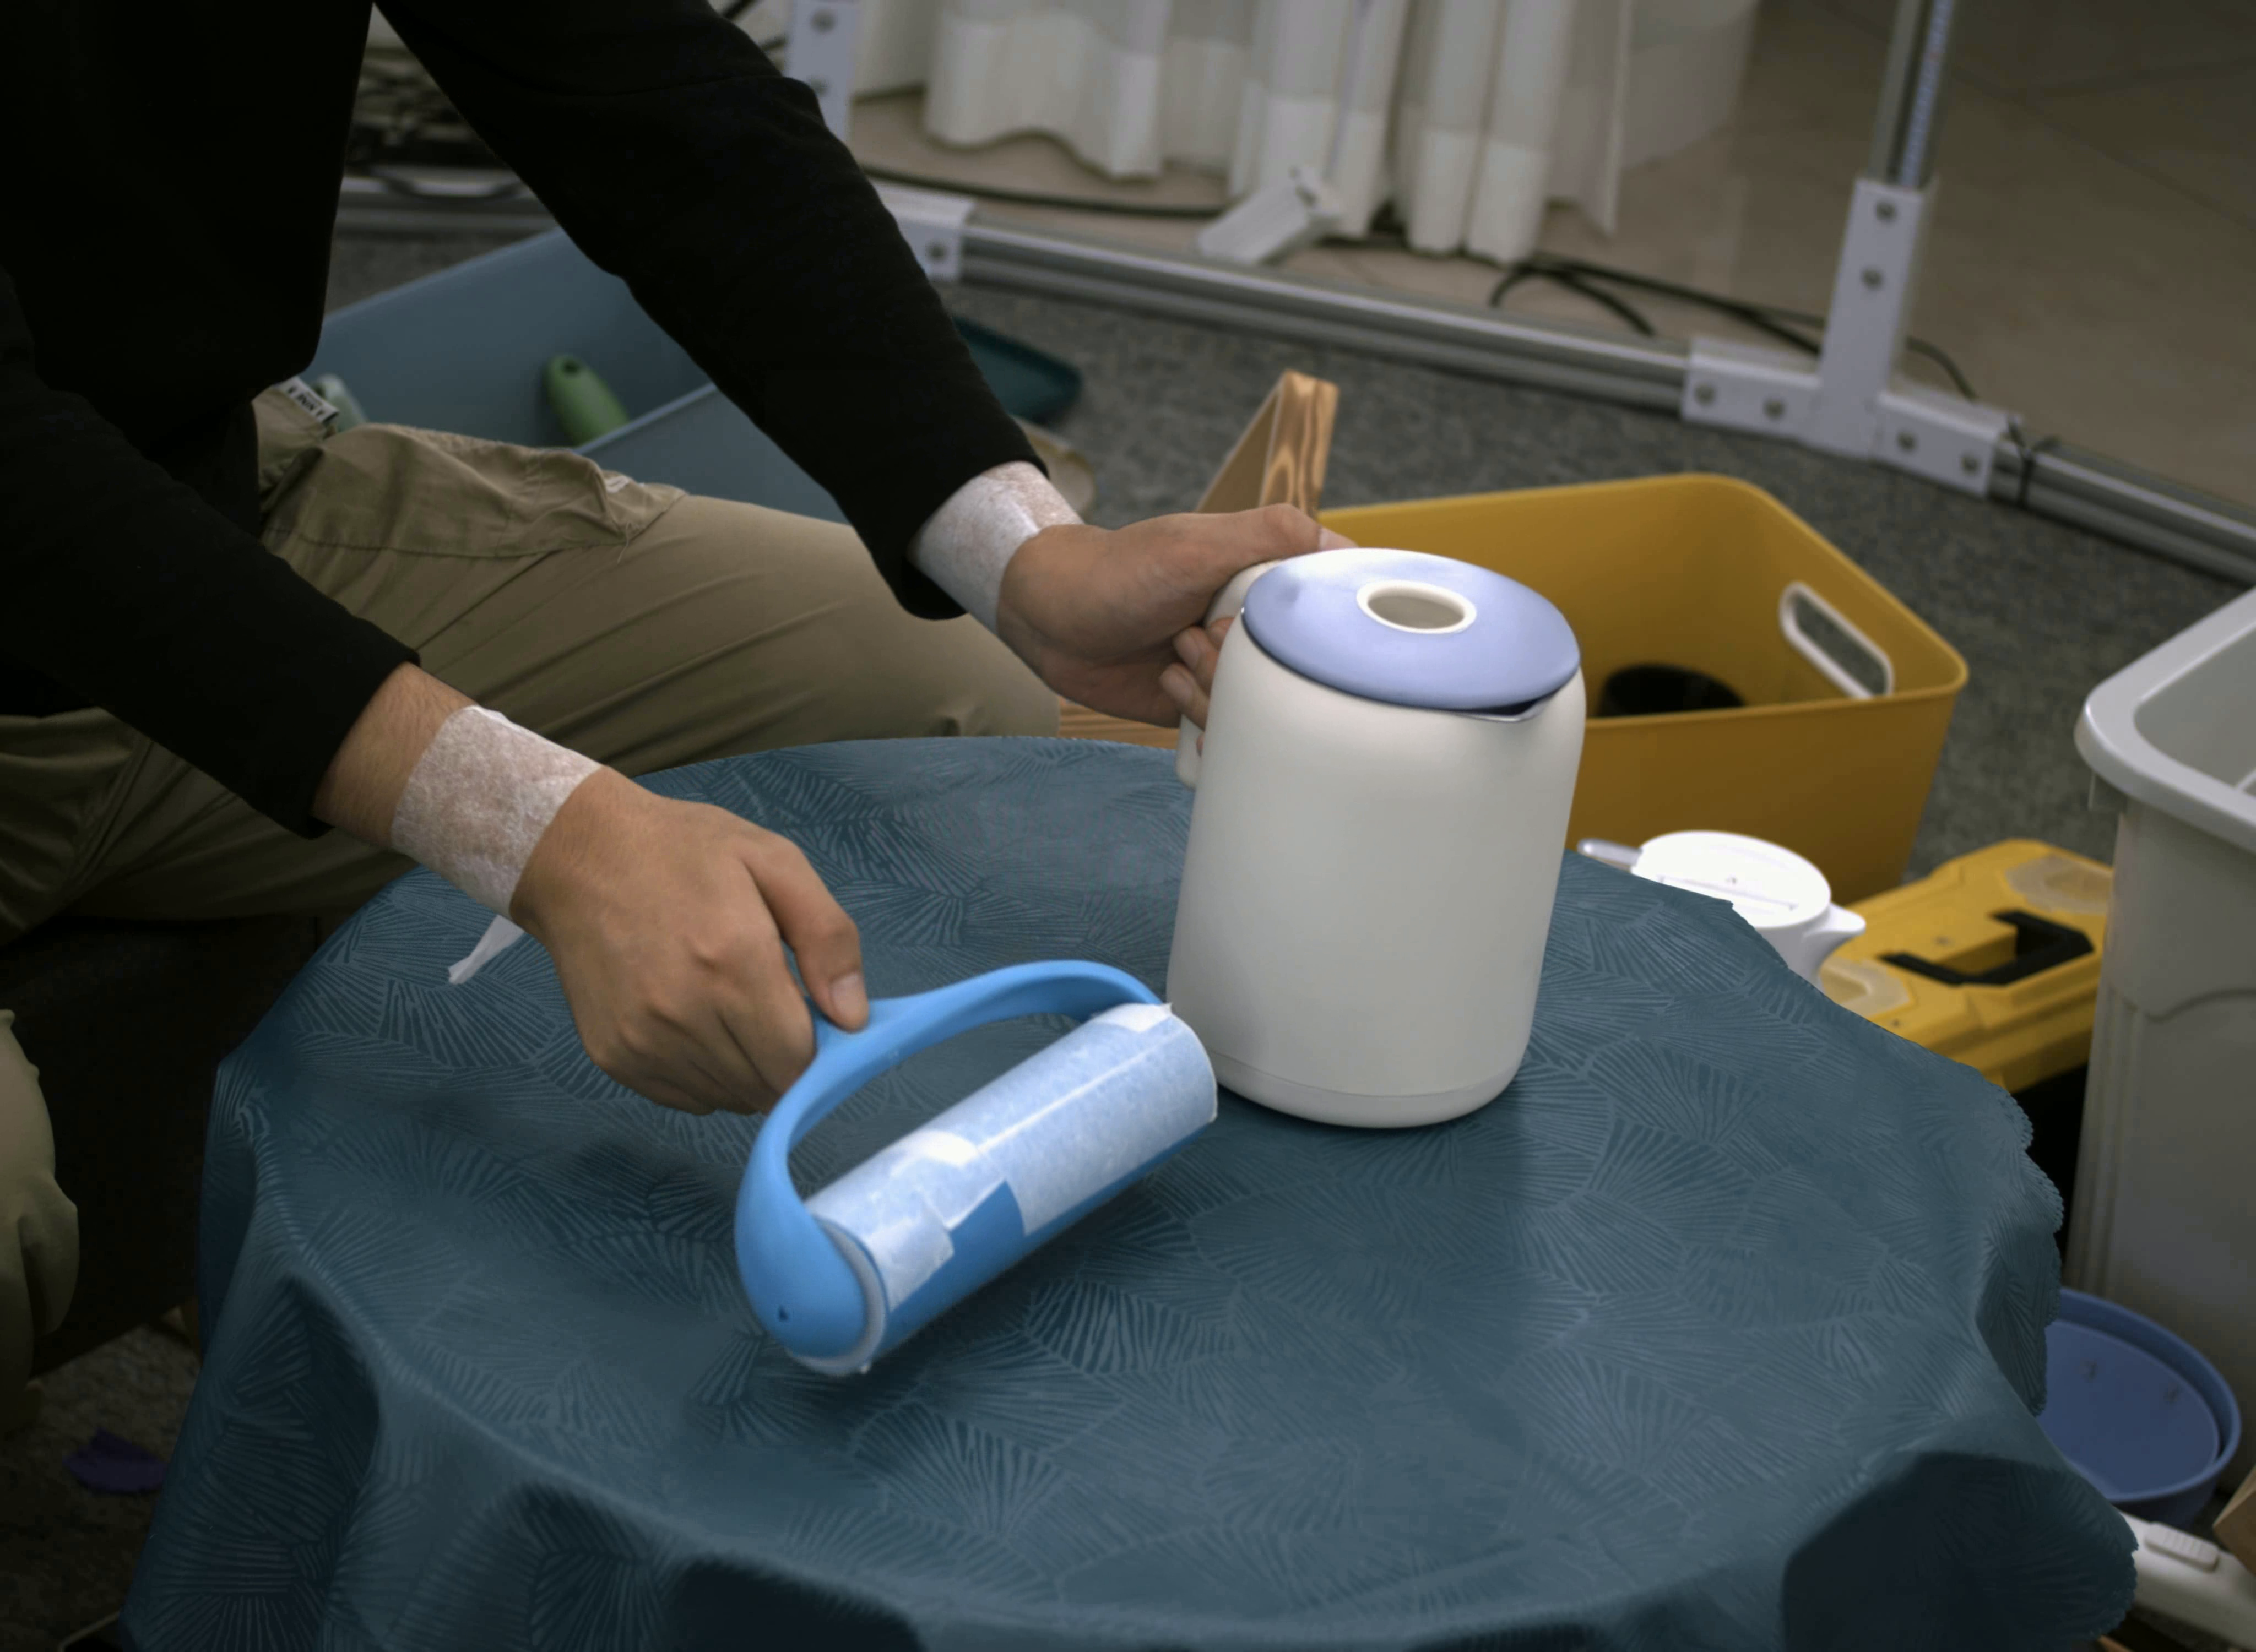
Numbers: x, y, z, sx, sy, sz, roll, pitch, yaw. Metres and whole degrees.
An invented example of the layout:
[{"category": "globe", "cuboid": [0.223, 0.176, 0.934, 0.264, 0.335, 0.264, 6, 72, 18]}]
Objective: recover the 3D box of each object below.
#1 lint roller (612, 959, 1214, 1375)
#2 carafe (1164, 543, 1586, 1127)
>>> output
[{"category": "lint roller", "cuboid": [-0.094, 0.087, 1.742, 0.181, 0.068, 0.228, 29, 34, 21]}, {"category": "carafe", "cuboid": [0.074, -0.008, 1.884, 0.131, 0.182, 0.193, -8, 28, -32]}]
